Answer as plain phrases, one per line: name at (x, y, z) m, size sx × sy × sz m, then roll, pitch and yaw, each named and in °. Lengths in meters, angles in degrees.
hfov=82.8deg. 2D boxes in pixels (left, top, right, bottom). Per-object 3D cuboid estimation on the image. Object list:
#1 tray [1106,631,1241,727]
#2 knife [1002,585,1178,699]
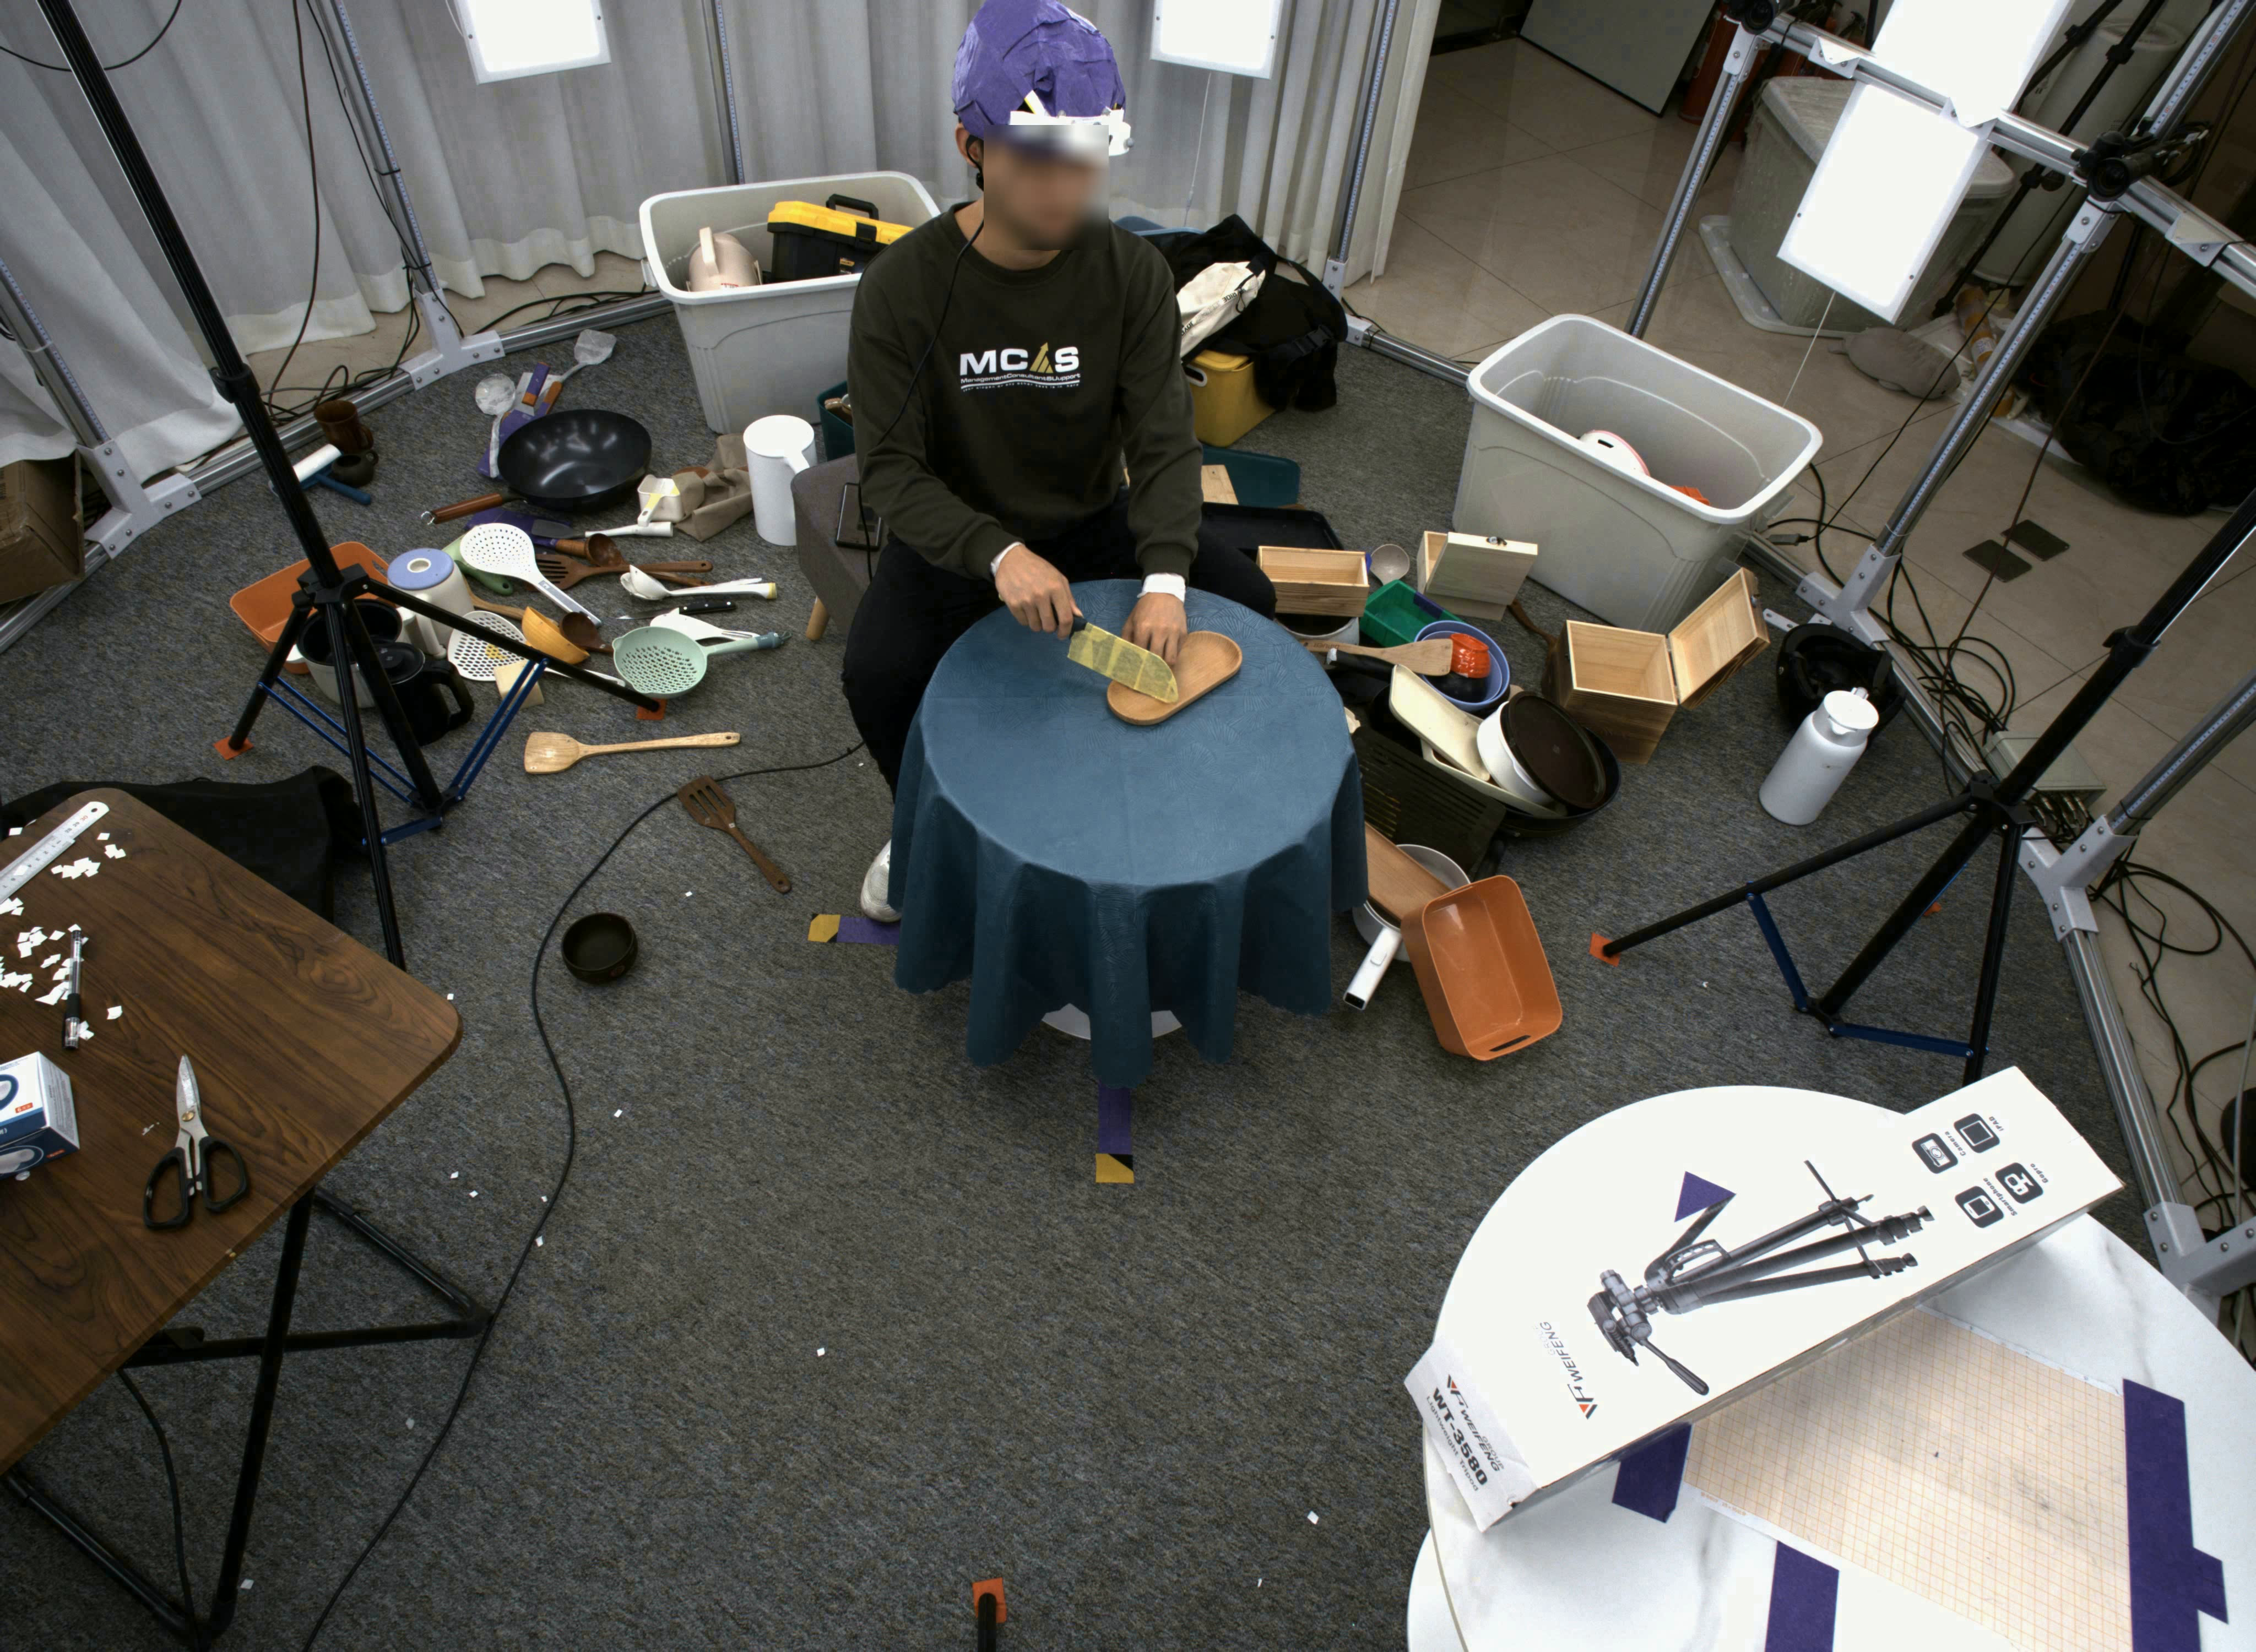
tray at (0.067, -0.212, 1.845) m, size 0.233 × 0.020 × 0.103 m, roll -35°, pitch 58°, yaw -27°
knife at (-0.054, -0.258, 1.810) m, size 0.290 × 0.079 × 0.027 m, roll 30°, pitch 42°, yaw 8°
